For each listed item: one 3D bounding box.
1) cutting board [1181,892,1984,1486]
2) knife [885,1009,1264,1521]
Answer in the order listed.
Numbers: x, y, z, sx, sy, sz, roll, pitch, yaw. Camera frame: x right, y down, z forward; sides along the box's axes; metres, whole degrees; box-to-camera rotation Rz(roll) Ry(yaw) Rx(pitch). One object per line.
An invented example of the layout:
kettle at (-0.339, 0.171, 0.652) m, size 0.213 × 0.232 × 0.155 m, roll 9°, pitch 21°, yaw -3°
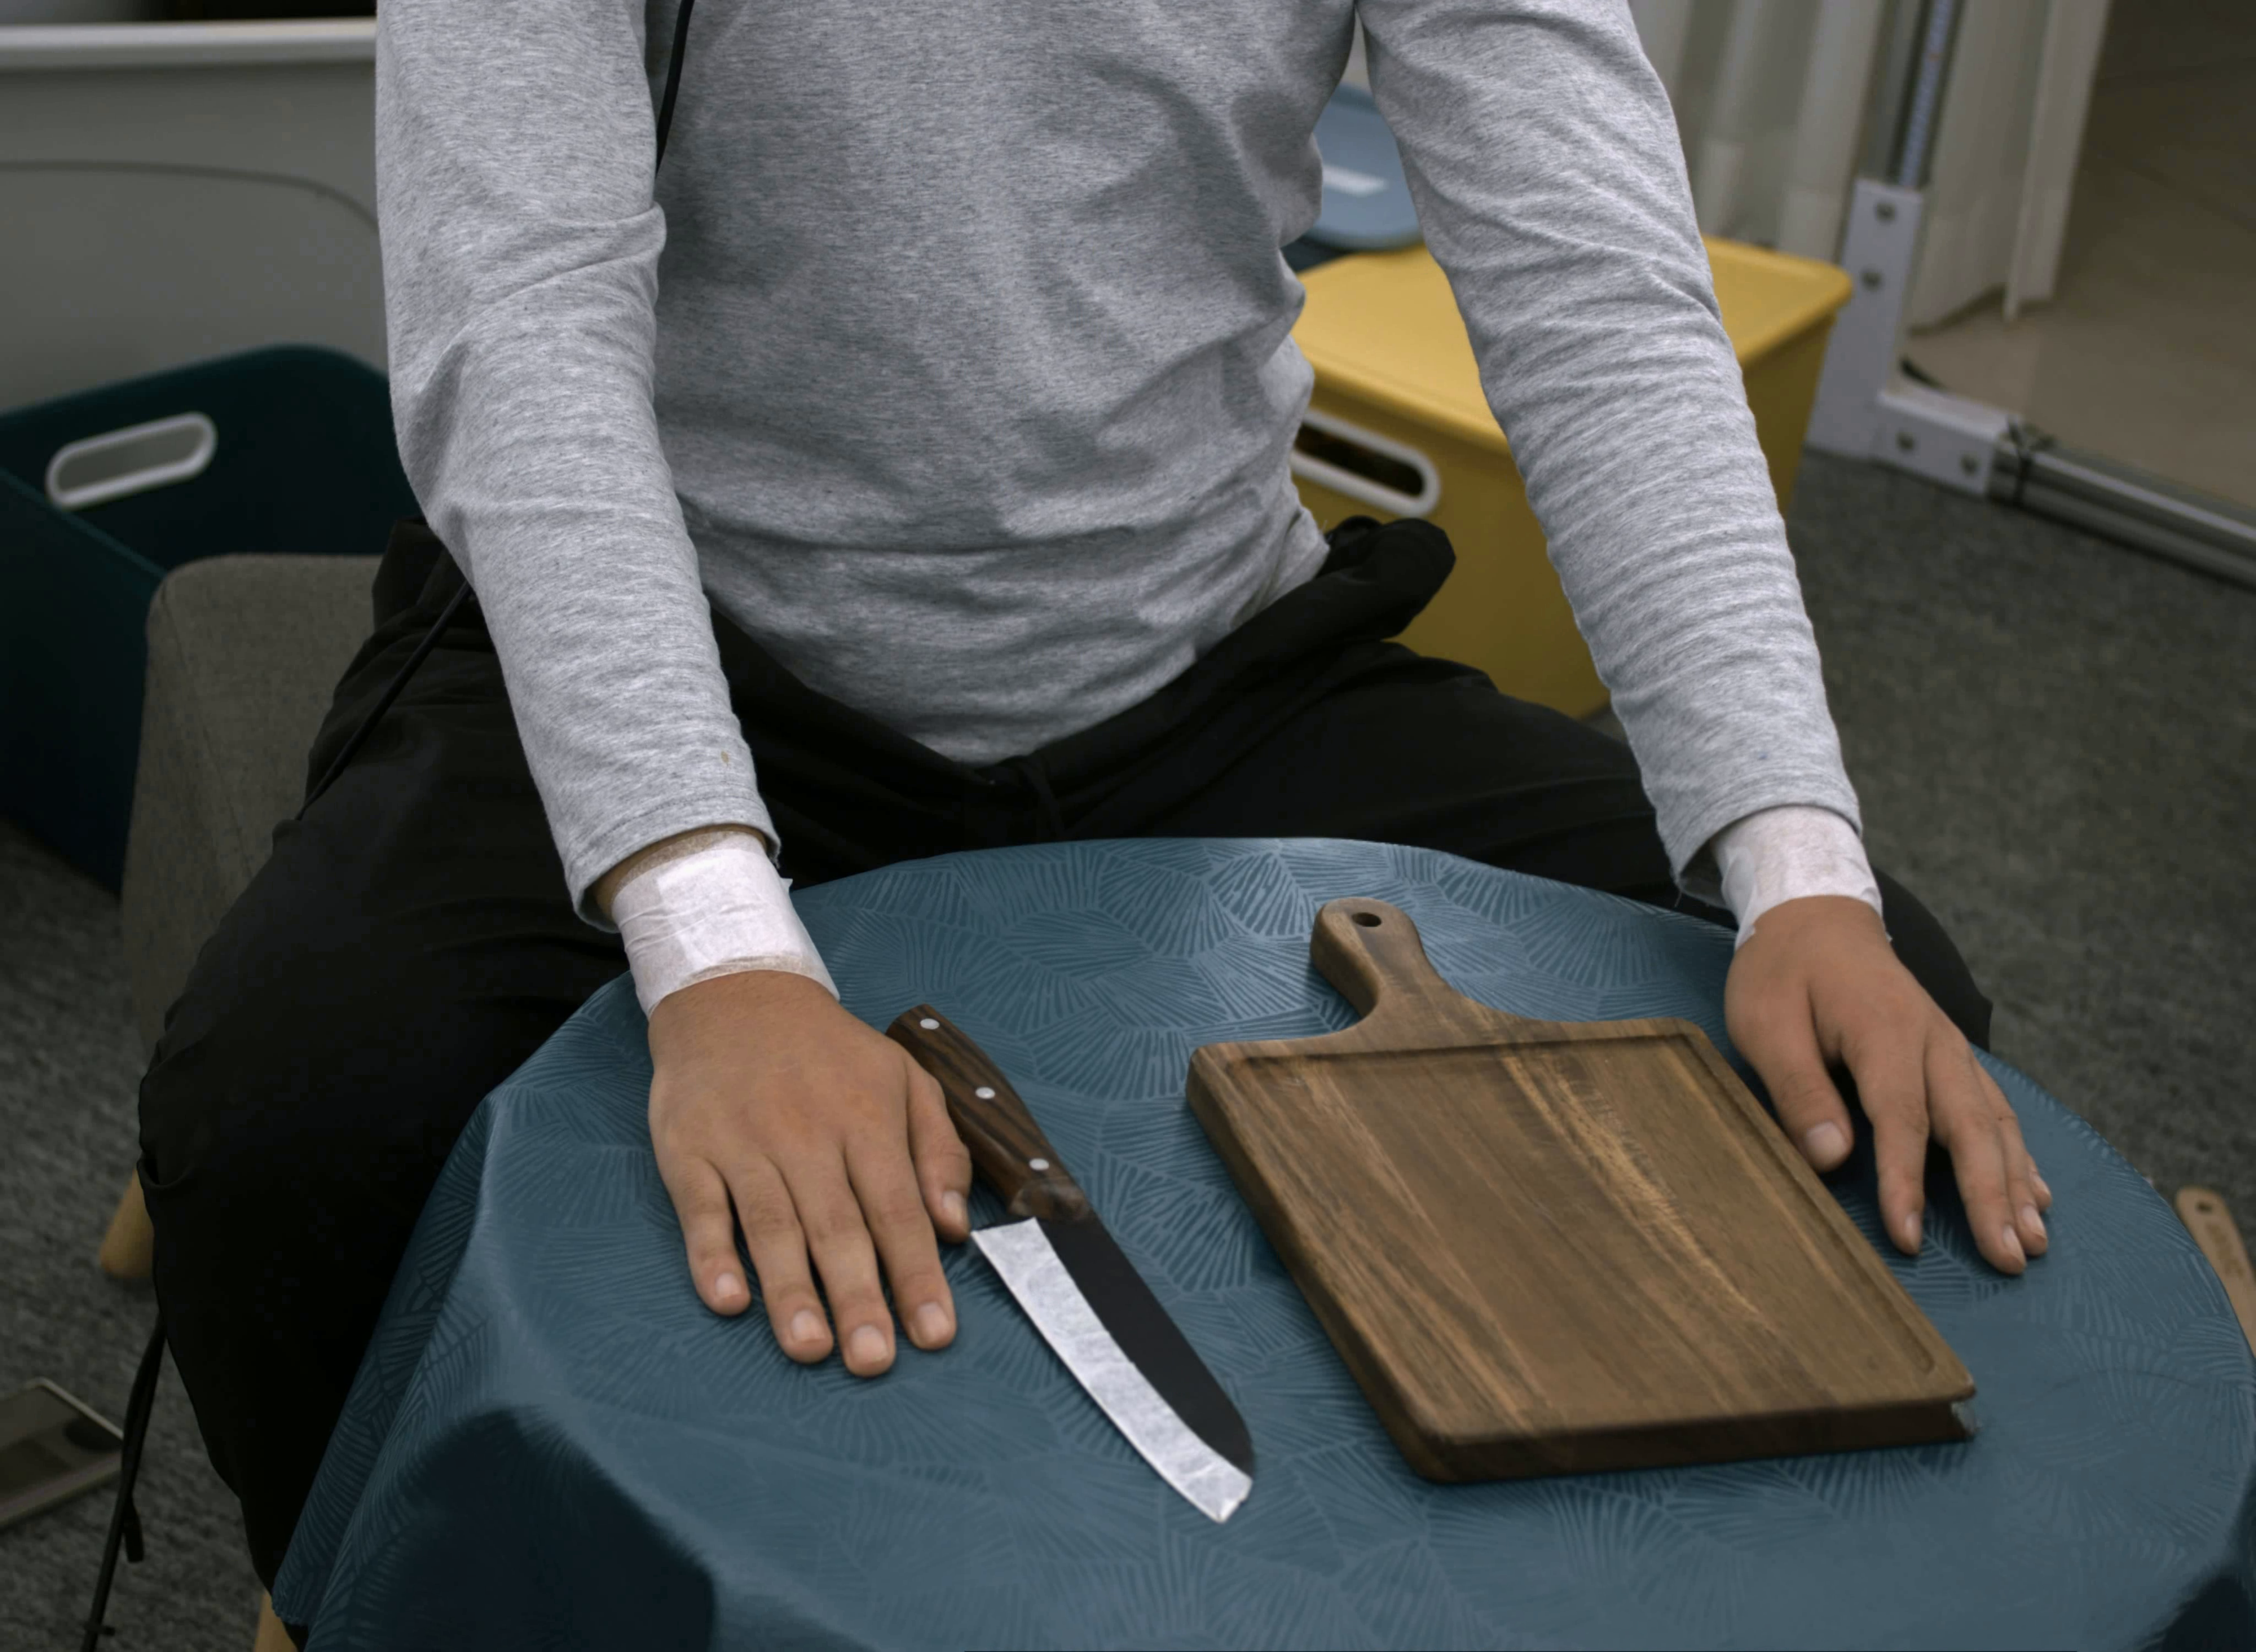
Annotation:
cutting board at (0.133, 0.114, 1.832) m, size 0.200 × 0.023 × 0.355 m, roll -2°, pitch 28°, yaw -18°
knife at (-0.021, 0.142, 1.748) m, size 0.050 × 0.020 × 0.292 m, roll -9°, pitch 33°, yaw -20°
